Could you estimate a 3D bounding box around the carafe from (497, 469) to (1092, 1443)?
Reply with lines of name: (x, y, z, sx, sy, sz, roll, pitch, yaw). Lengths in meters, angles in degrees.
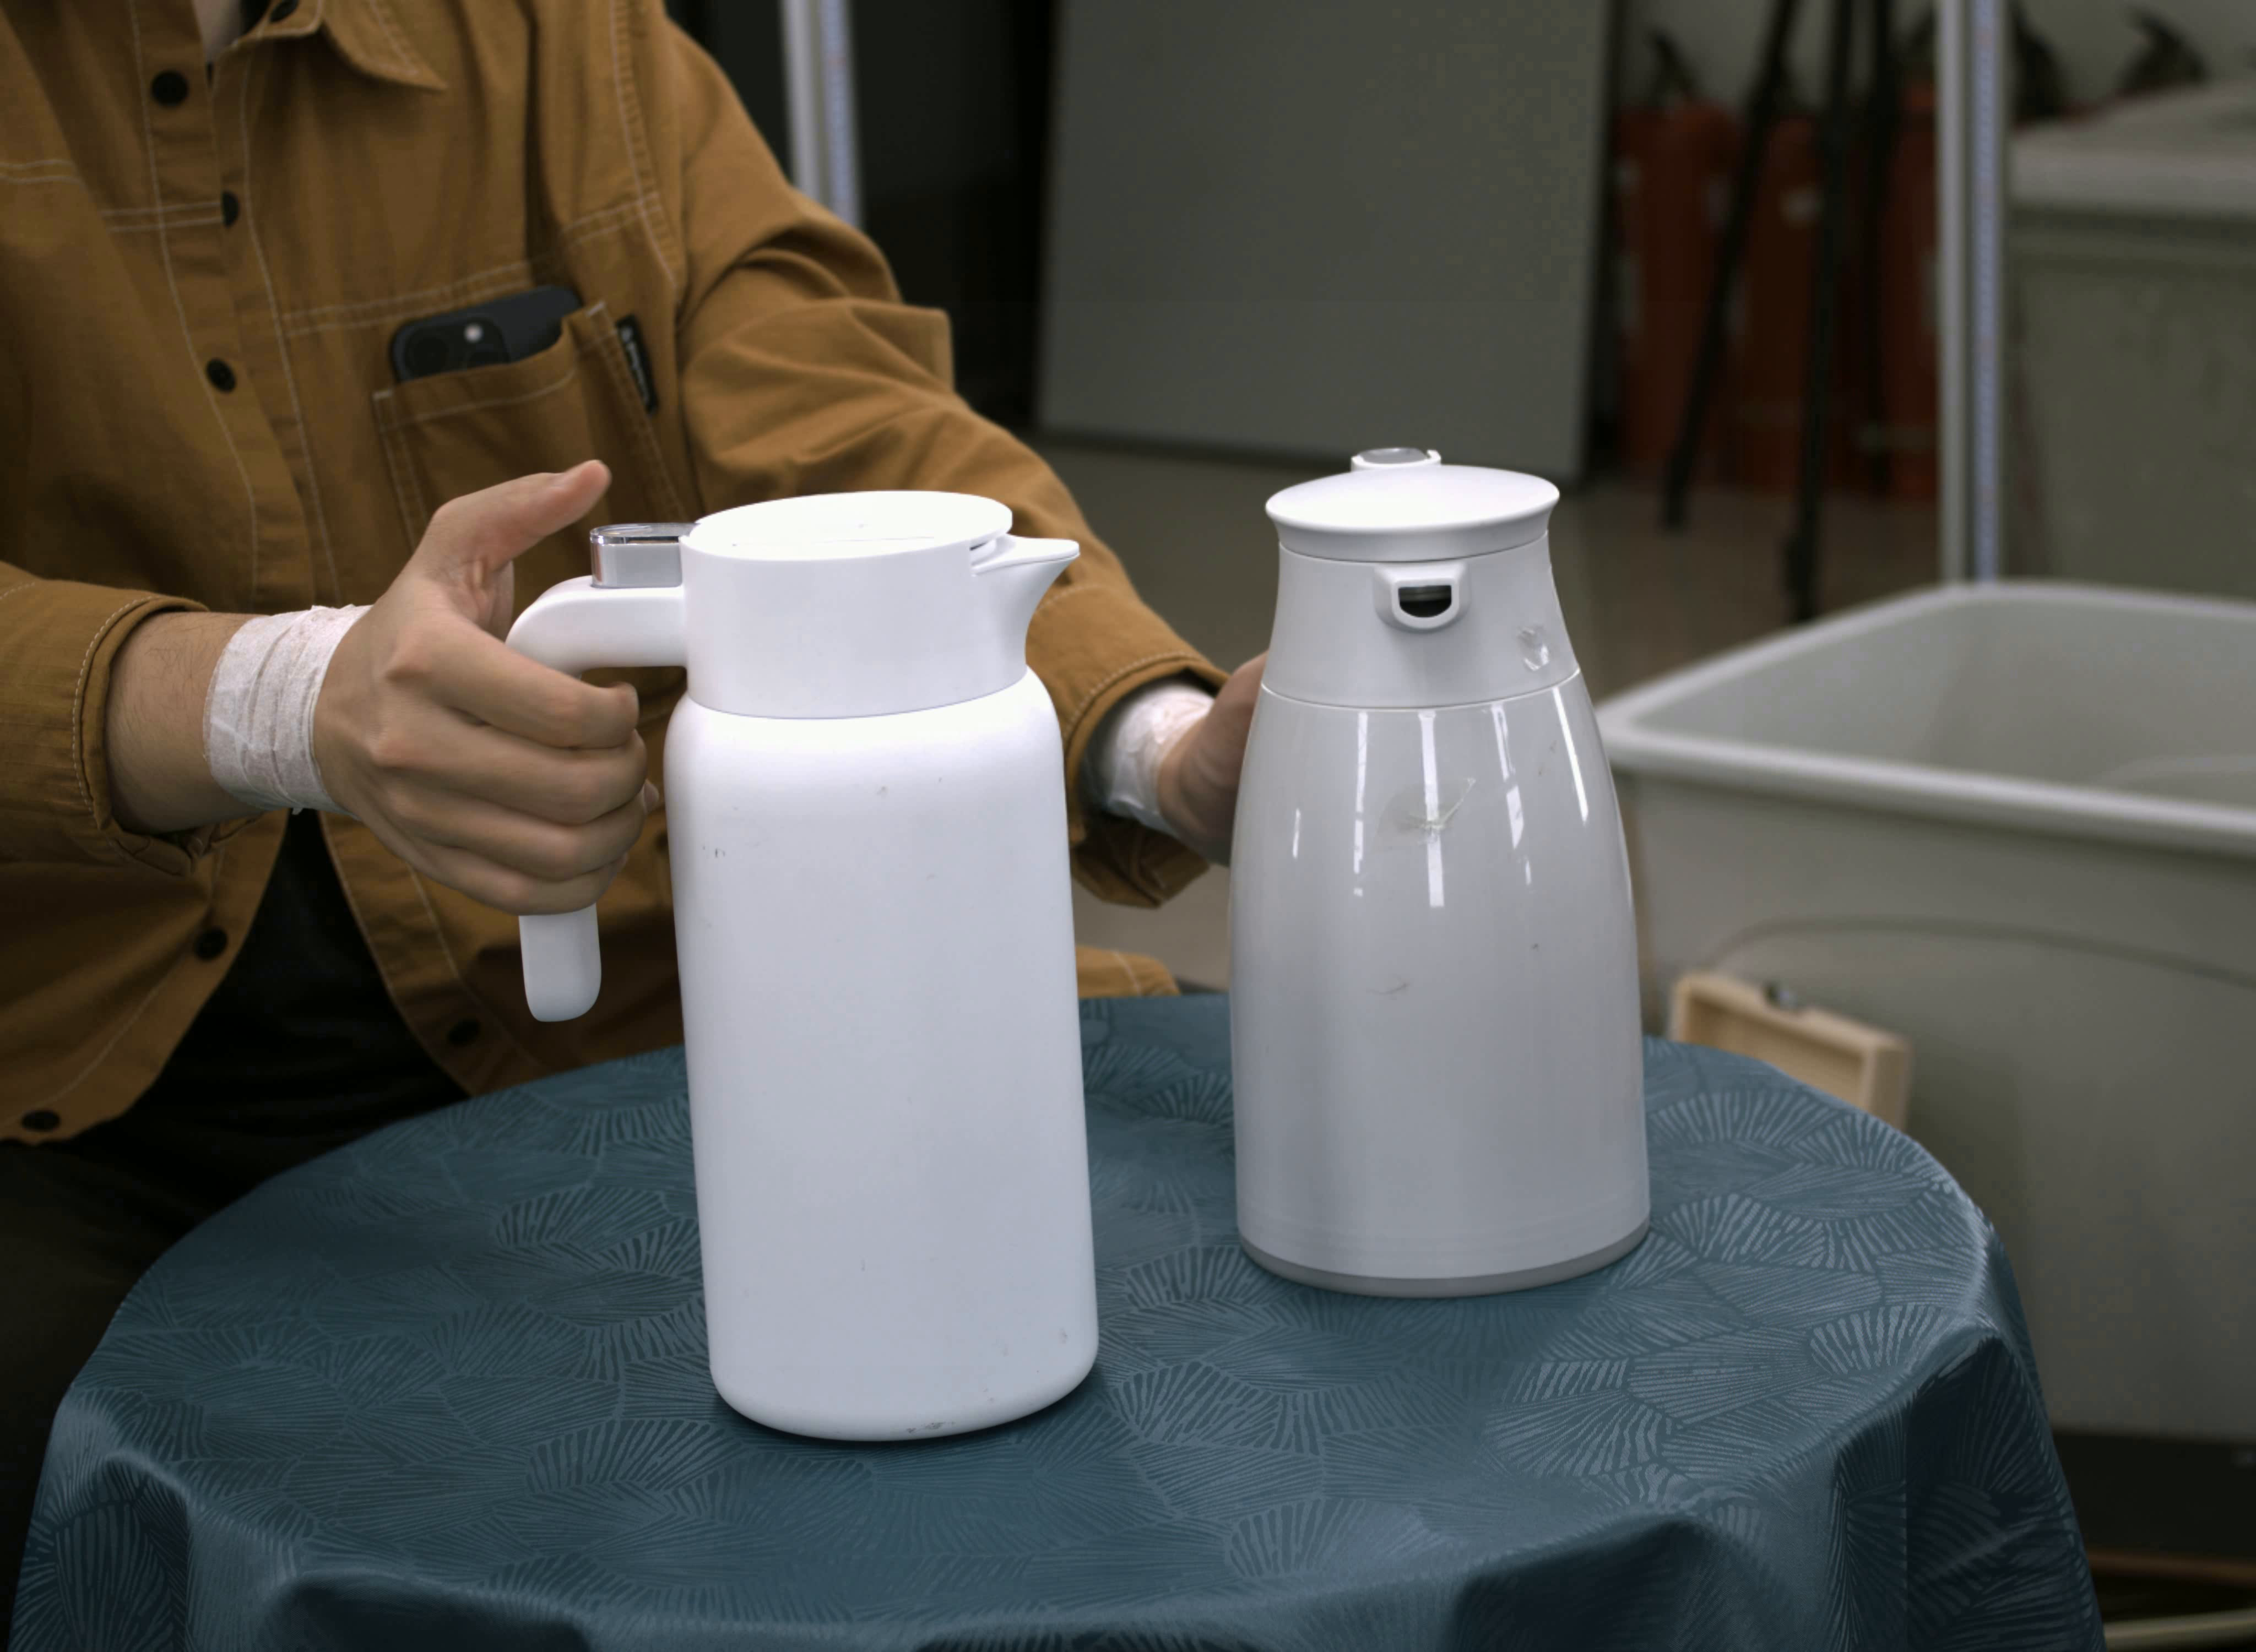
carafe: (-0.092, 0.037, 1.579, 0.171, 0.272, 0.123, -2, 16, 9)

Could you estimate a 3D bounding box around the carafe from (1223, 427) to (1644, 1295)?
carafe: (0.091, 0.003, 1.702, 0.131, 0.251, 0.168, -4, 12, 0)
